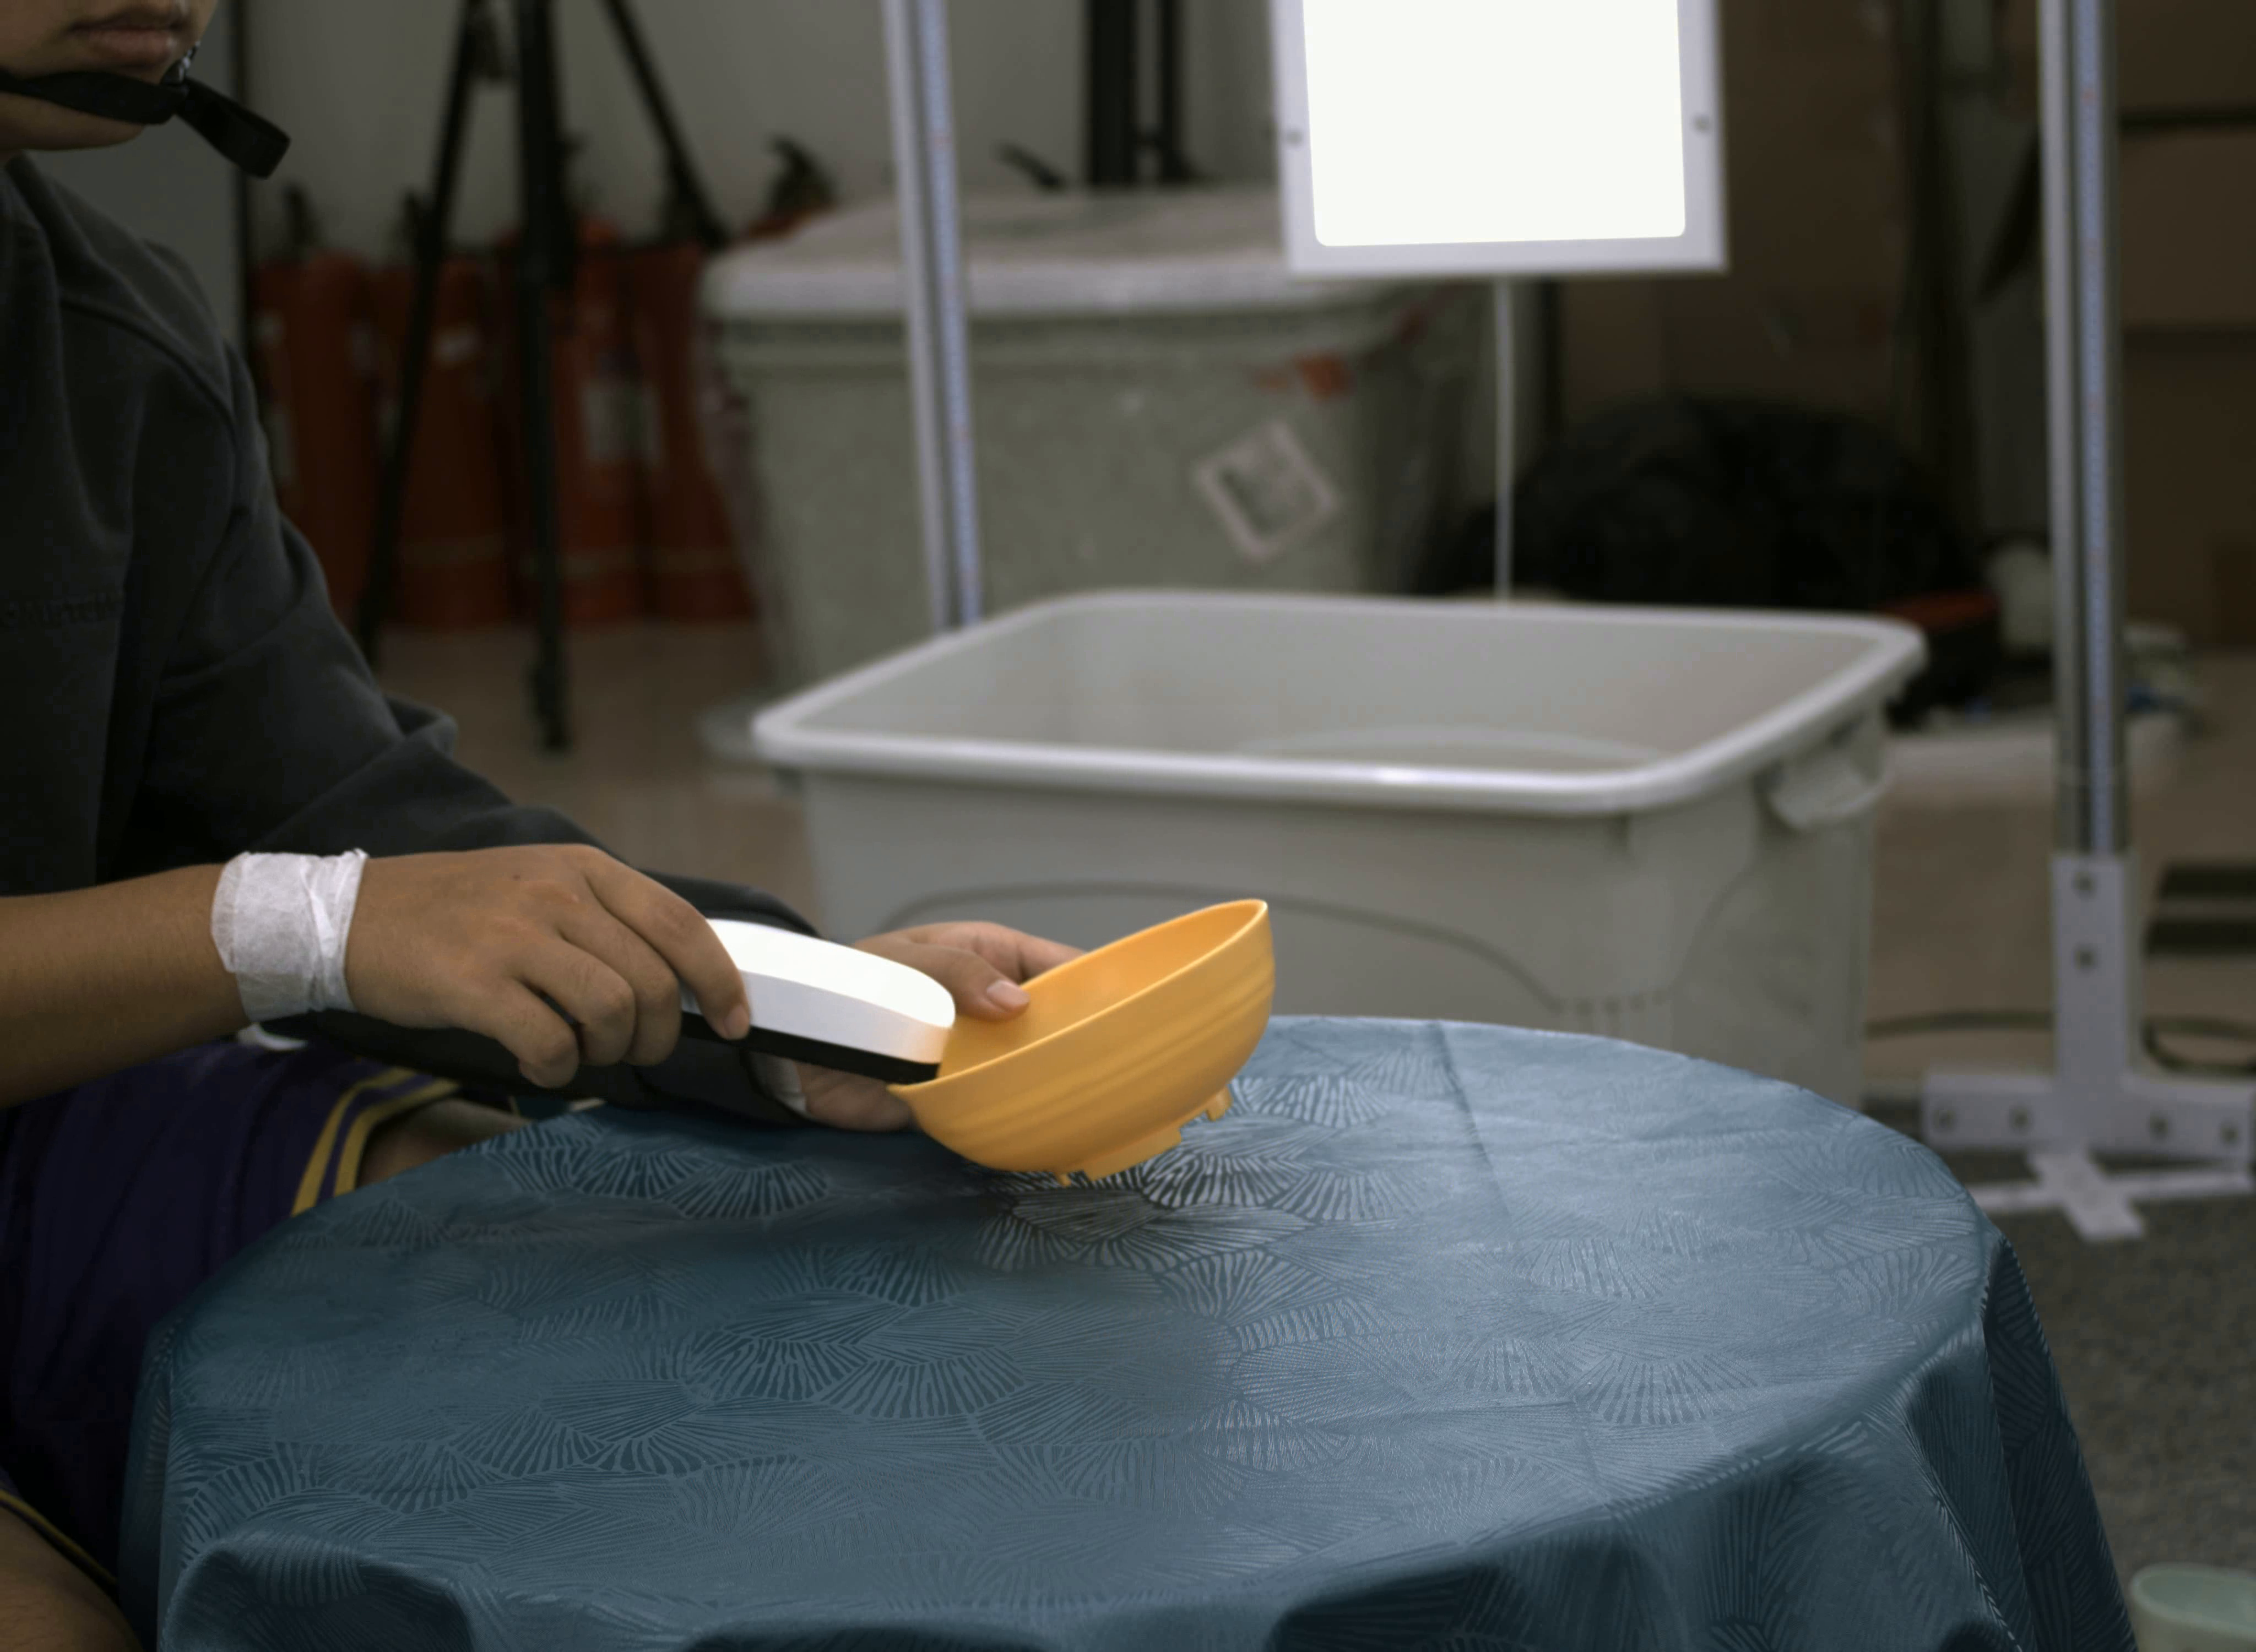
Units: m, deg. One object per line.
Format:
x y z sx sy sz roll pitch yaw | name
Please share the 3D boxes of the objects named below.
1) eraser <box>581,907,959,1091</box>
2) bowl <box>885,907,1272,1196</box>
-0.123 0.056 1.888 0.130 0.035 0.063 14 13 -7 | eraser
-0.006 0.085 1.879 0.145 0.060 0.145 -28 4 0 | bowl
